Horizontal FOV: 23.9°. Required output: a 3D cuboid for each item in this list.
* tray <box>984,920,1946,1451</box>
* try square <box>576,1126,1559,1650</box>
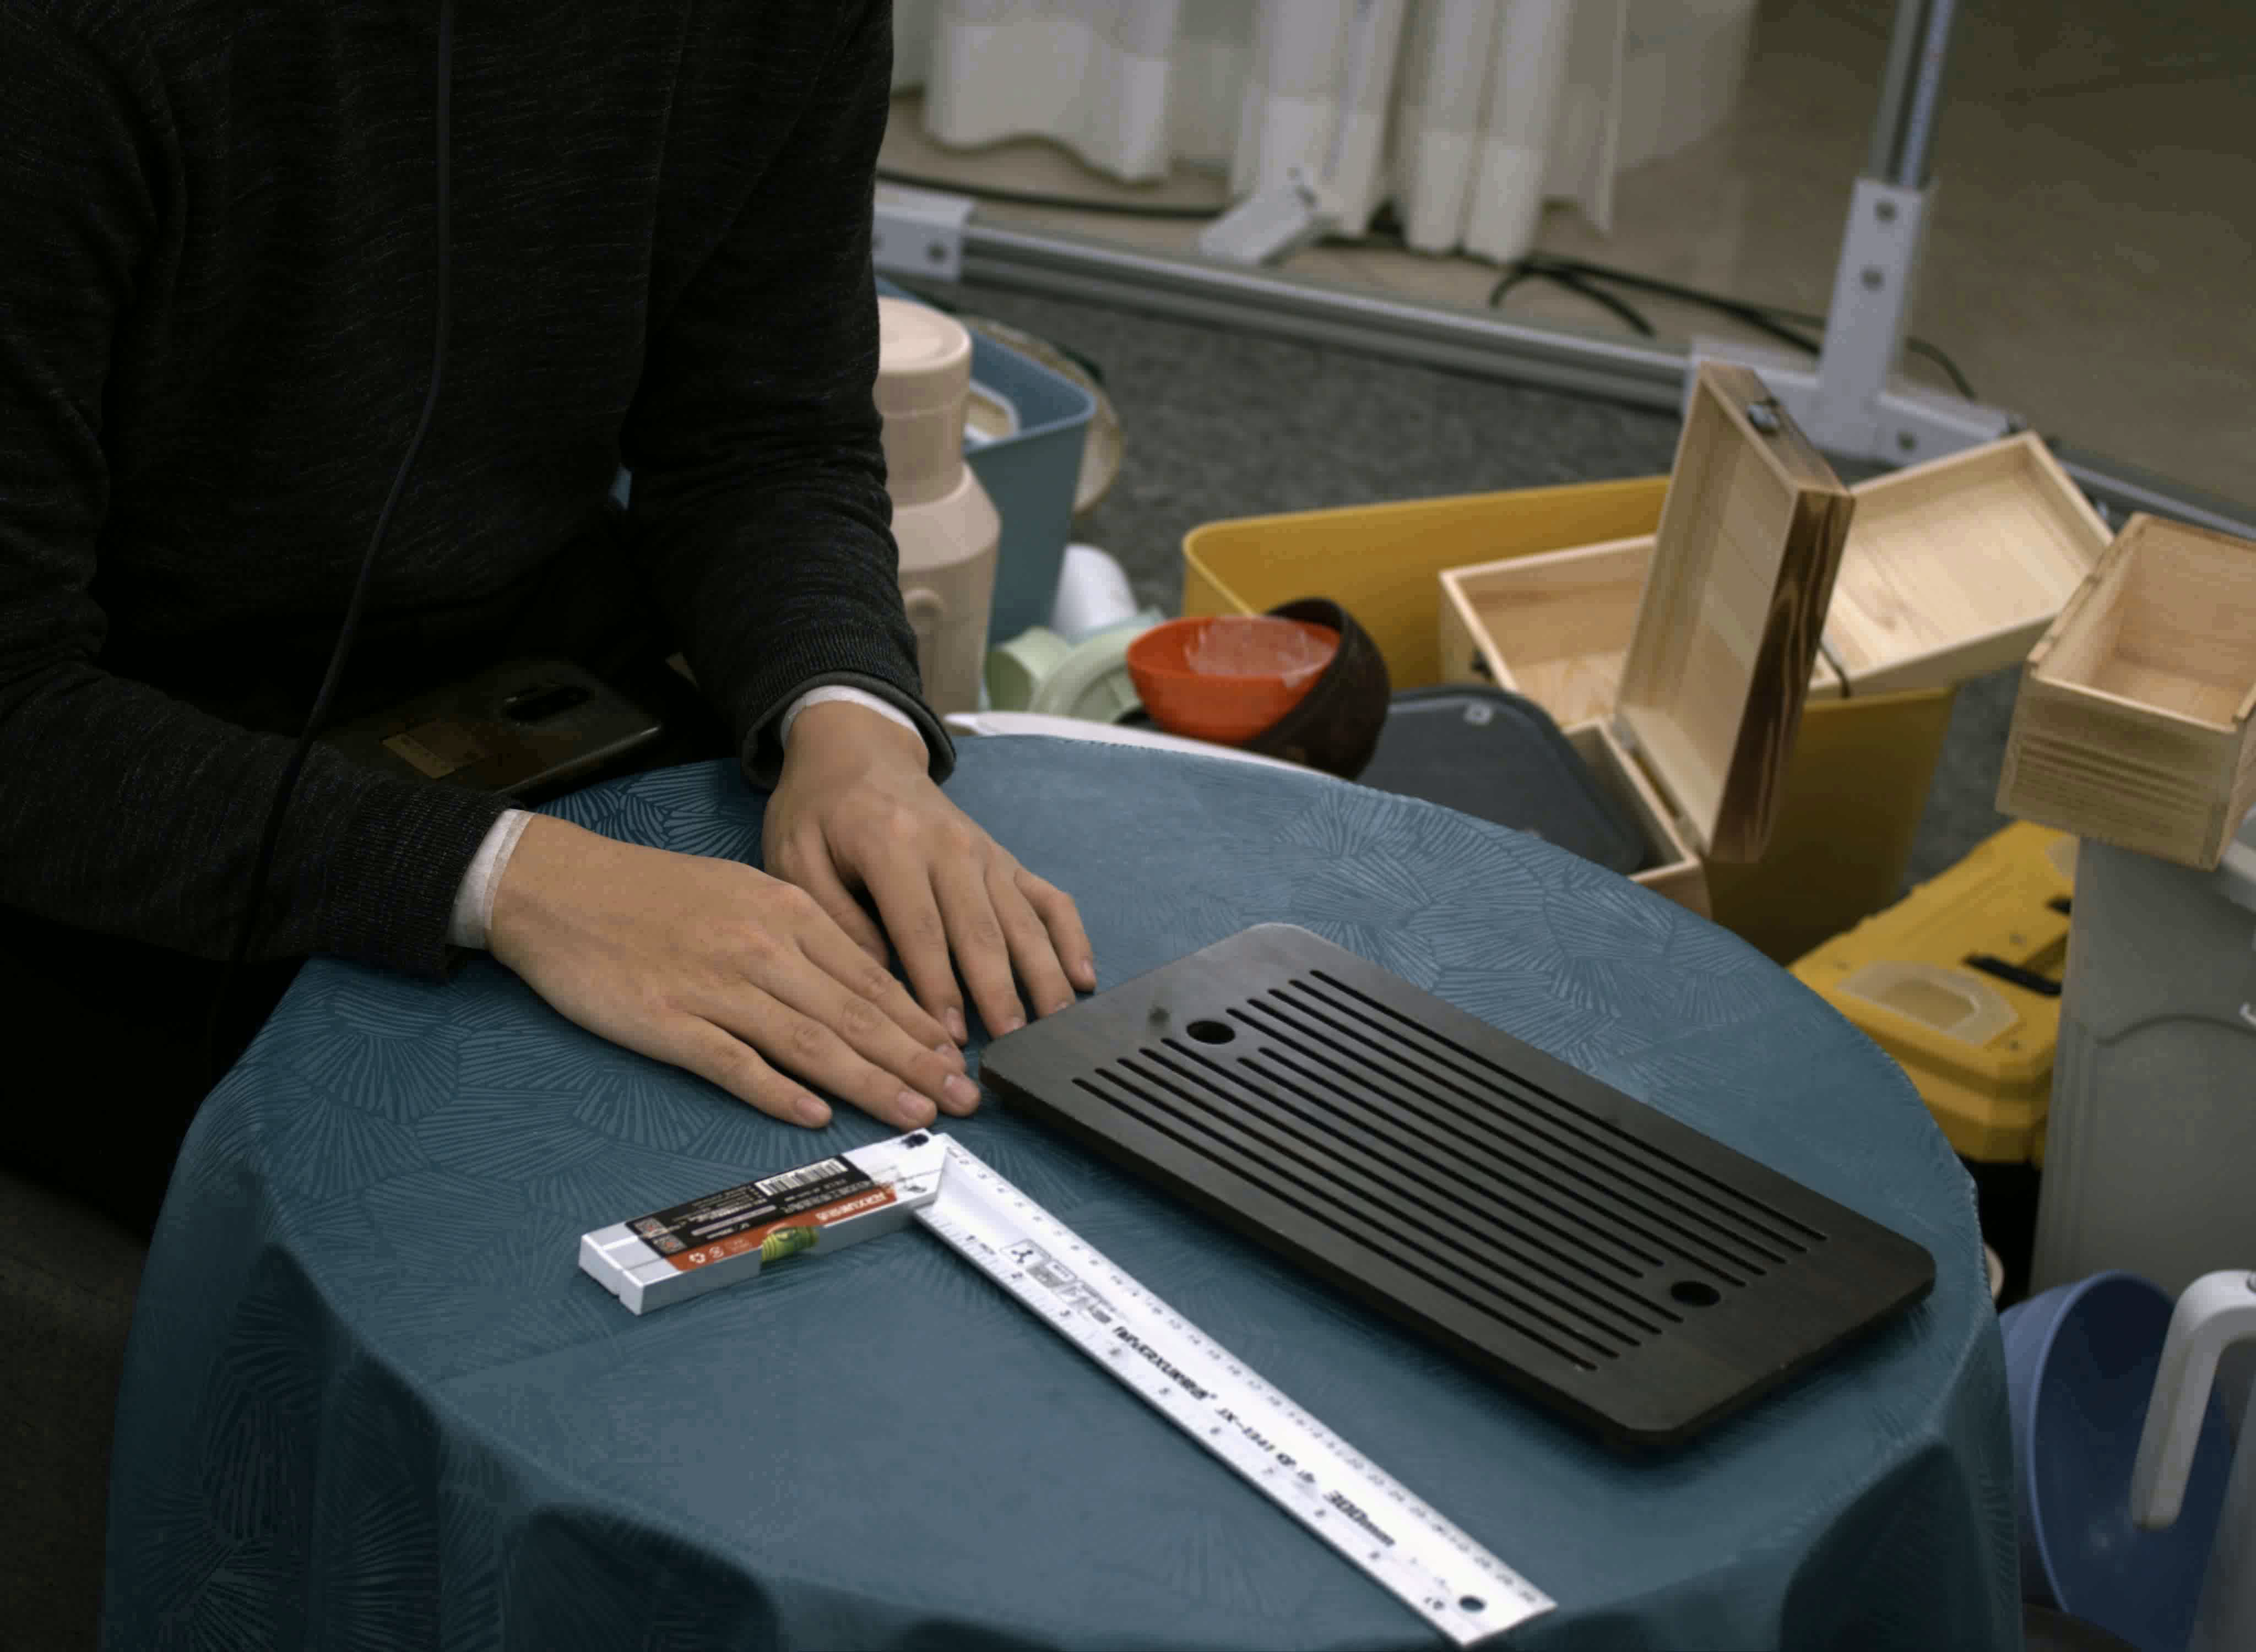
[{"bbox_3d":[0.111,0.119,1.816,0.308,0.018,0.169,27,34,35],"label":"tray"},{"bbox_3d":[-0.025,0.187,1.666,0.151,0.016,0.315,-16,36,-36],"label":"try square"}]
